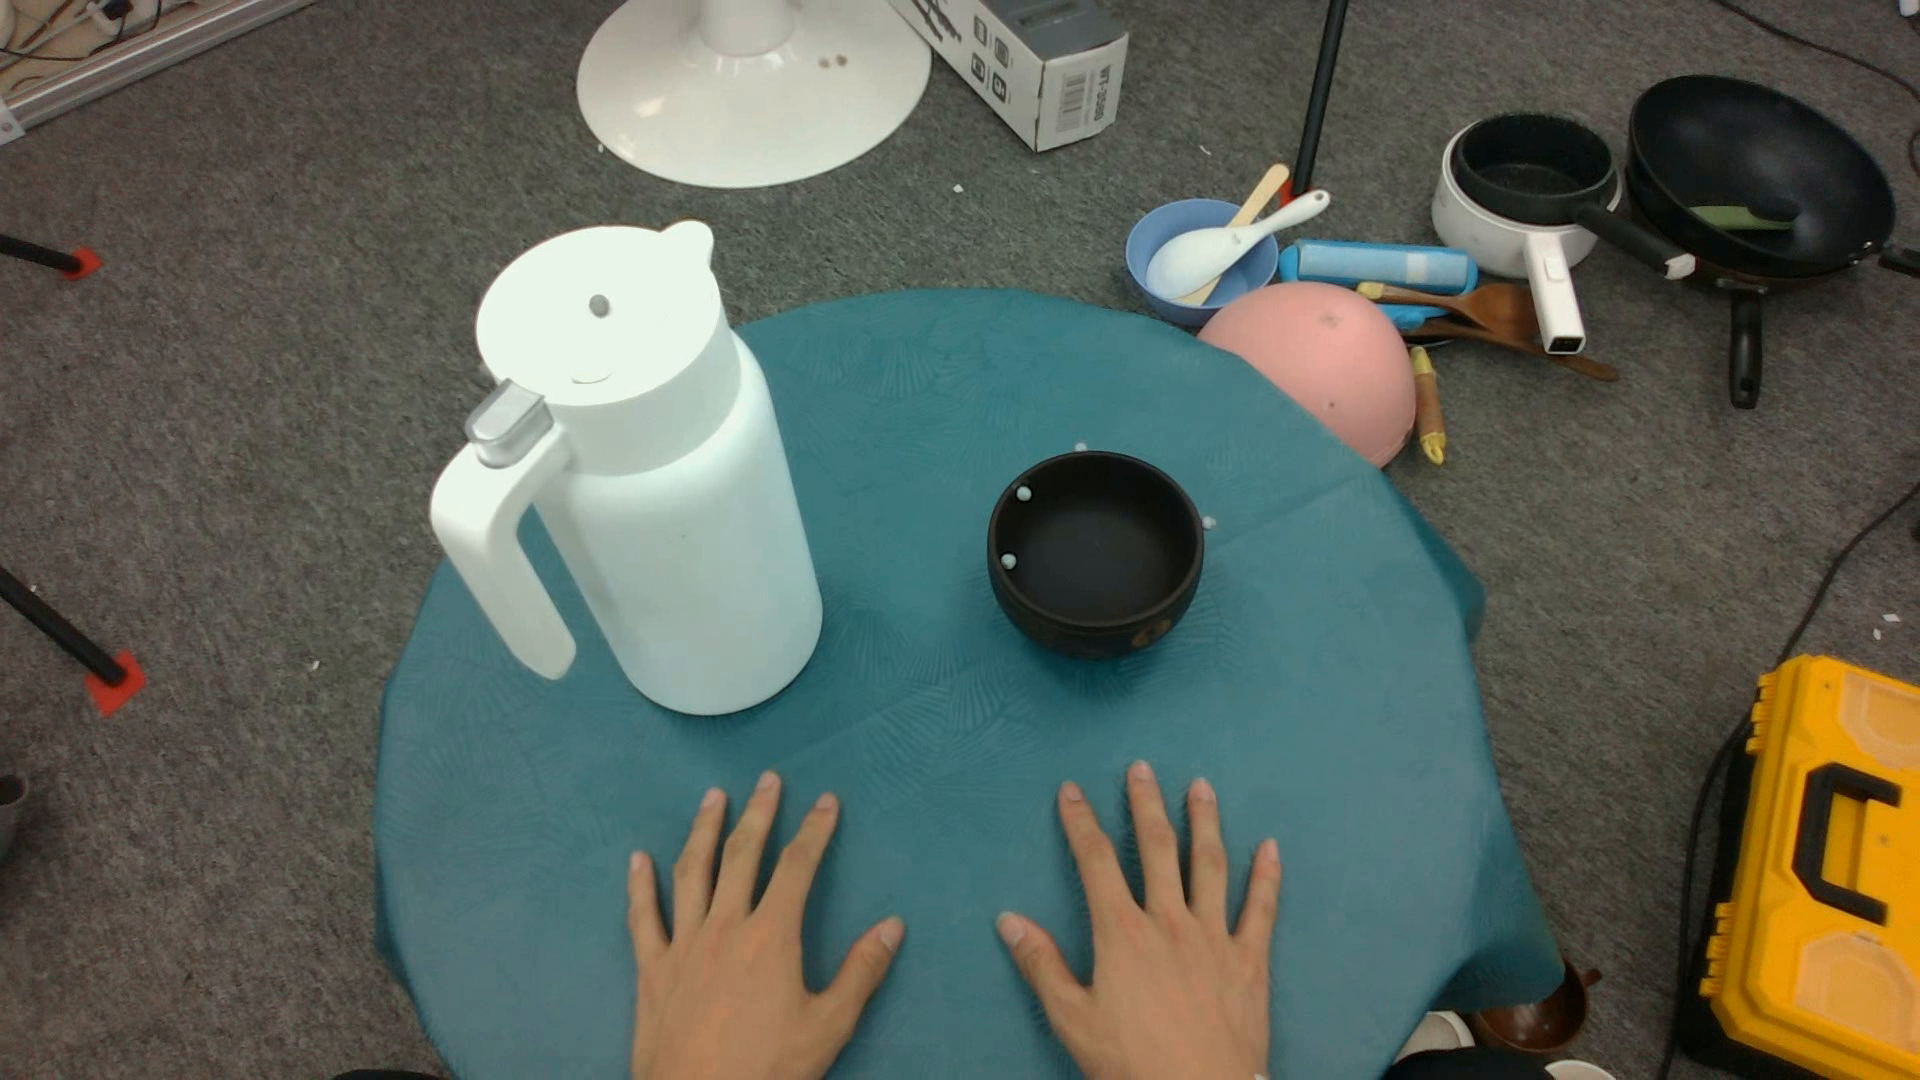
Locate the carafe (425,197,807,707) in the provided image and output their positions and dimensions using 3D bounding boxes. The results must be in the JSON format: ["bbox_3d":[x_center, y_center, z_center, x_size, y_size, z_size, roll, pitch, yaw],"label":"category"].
[{"bbox_3d":[-0.155,-0.014,0.663,0.124,0.267,0.173,24,61,15],"label":"carafe"}]

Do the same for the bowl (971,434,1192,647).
[{"bbox_3d":[0.065,0.007,0.757,0.118,0.069,0.118,-1,57,1],"label":"bowl"}]
